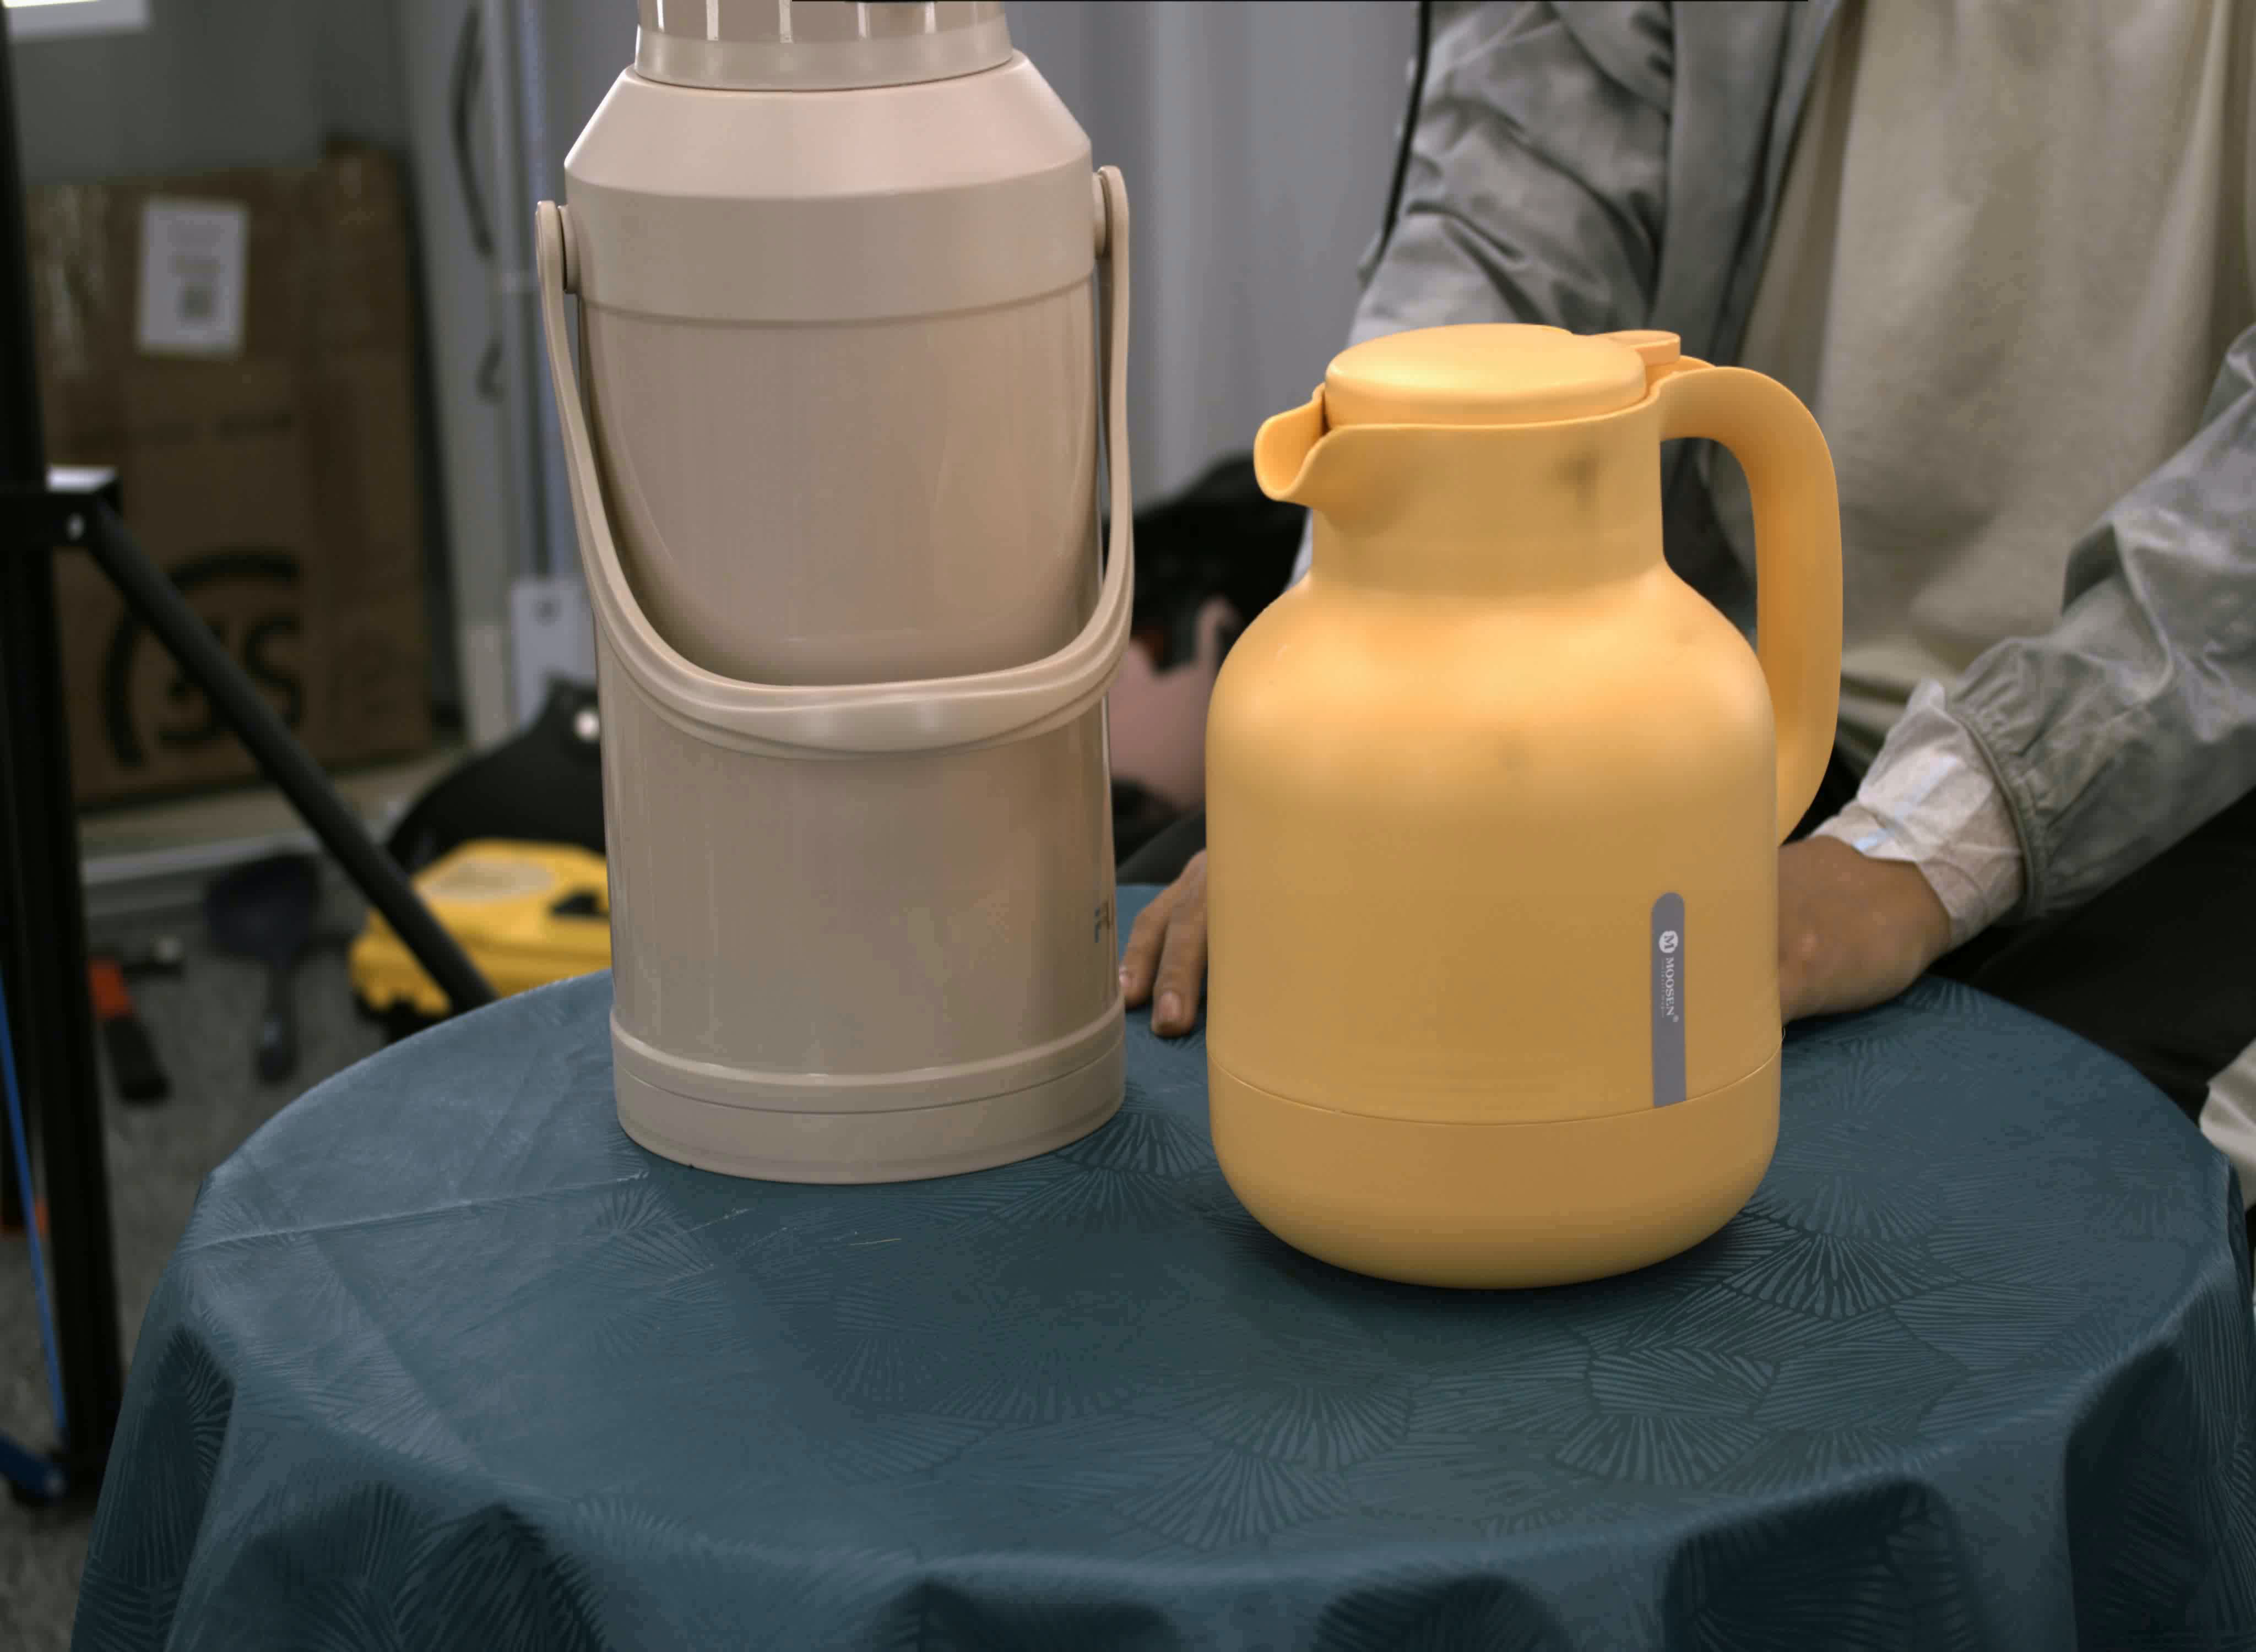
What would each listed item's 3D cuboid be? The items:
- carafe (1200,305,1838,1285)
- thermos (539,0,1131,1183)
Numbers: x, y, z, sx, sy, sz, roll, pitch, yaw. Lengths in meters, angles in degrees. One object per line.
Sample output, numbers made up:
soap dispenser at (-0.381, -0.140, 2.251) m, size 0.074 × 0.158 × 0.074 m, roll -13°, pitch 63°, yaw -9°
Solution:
carafe at (0.118, -0.015, 1.492) m, size 0.198 × 0.260 × 0.167 m, roll -12°, pitch 20°, yaw -30°
thermos at (-0.086, -0.110, 1.616) m, size 0.173 × 0.406 × 0.209 m, roll -5°, pitch 16°, yaw -9°
